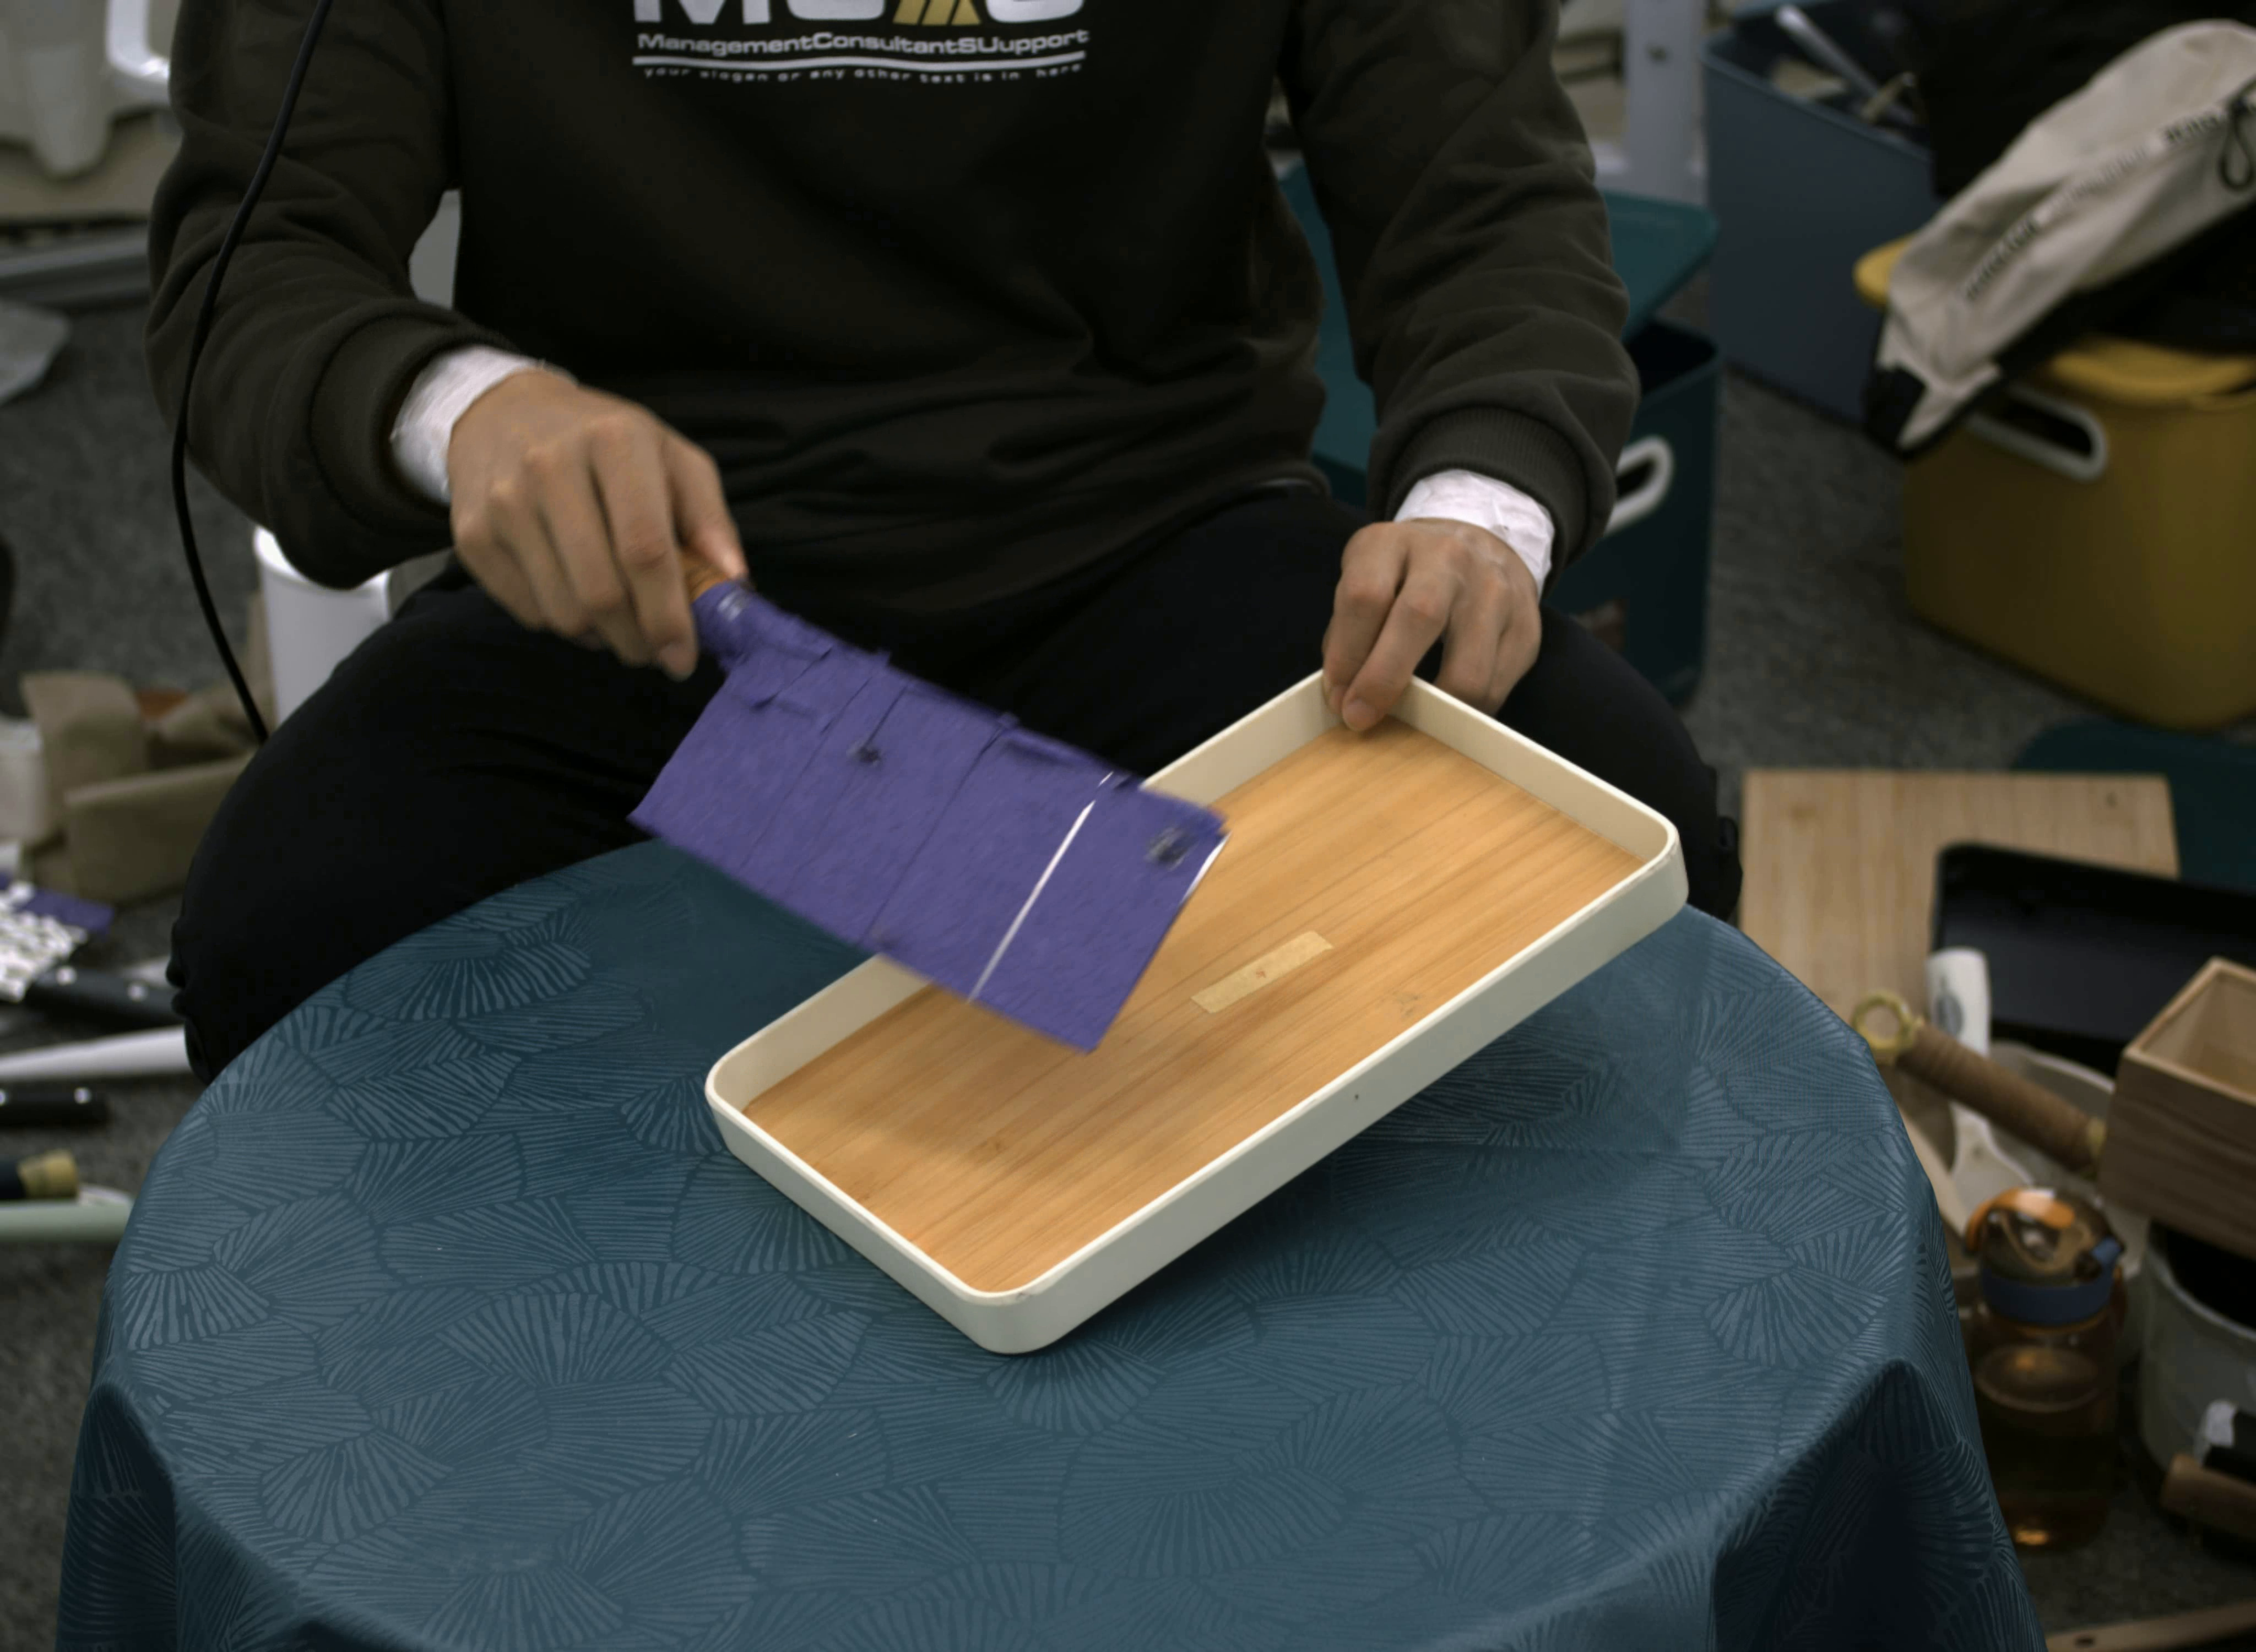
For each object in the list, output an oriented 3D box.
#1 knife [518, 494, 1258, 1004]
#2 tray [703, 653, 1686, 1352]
[{"bbox_3d":[-0.103,-0.027,1.898,0.315,0.032,0.105,24,72,33],"label":"knife"},{"bbox_3d":[0.022,0.053,1.888,0.303,0.027,0.192,-33,37,-22],"label":"tray"}]
